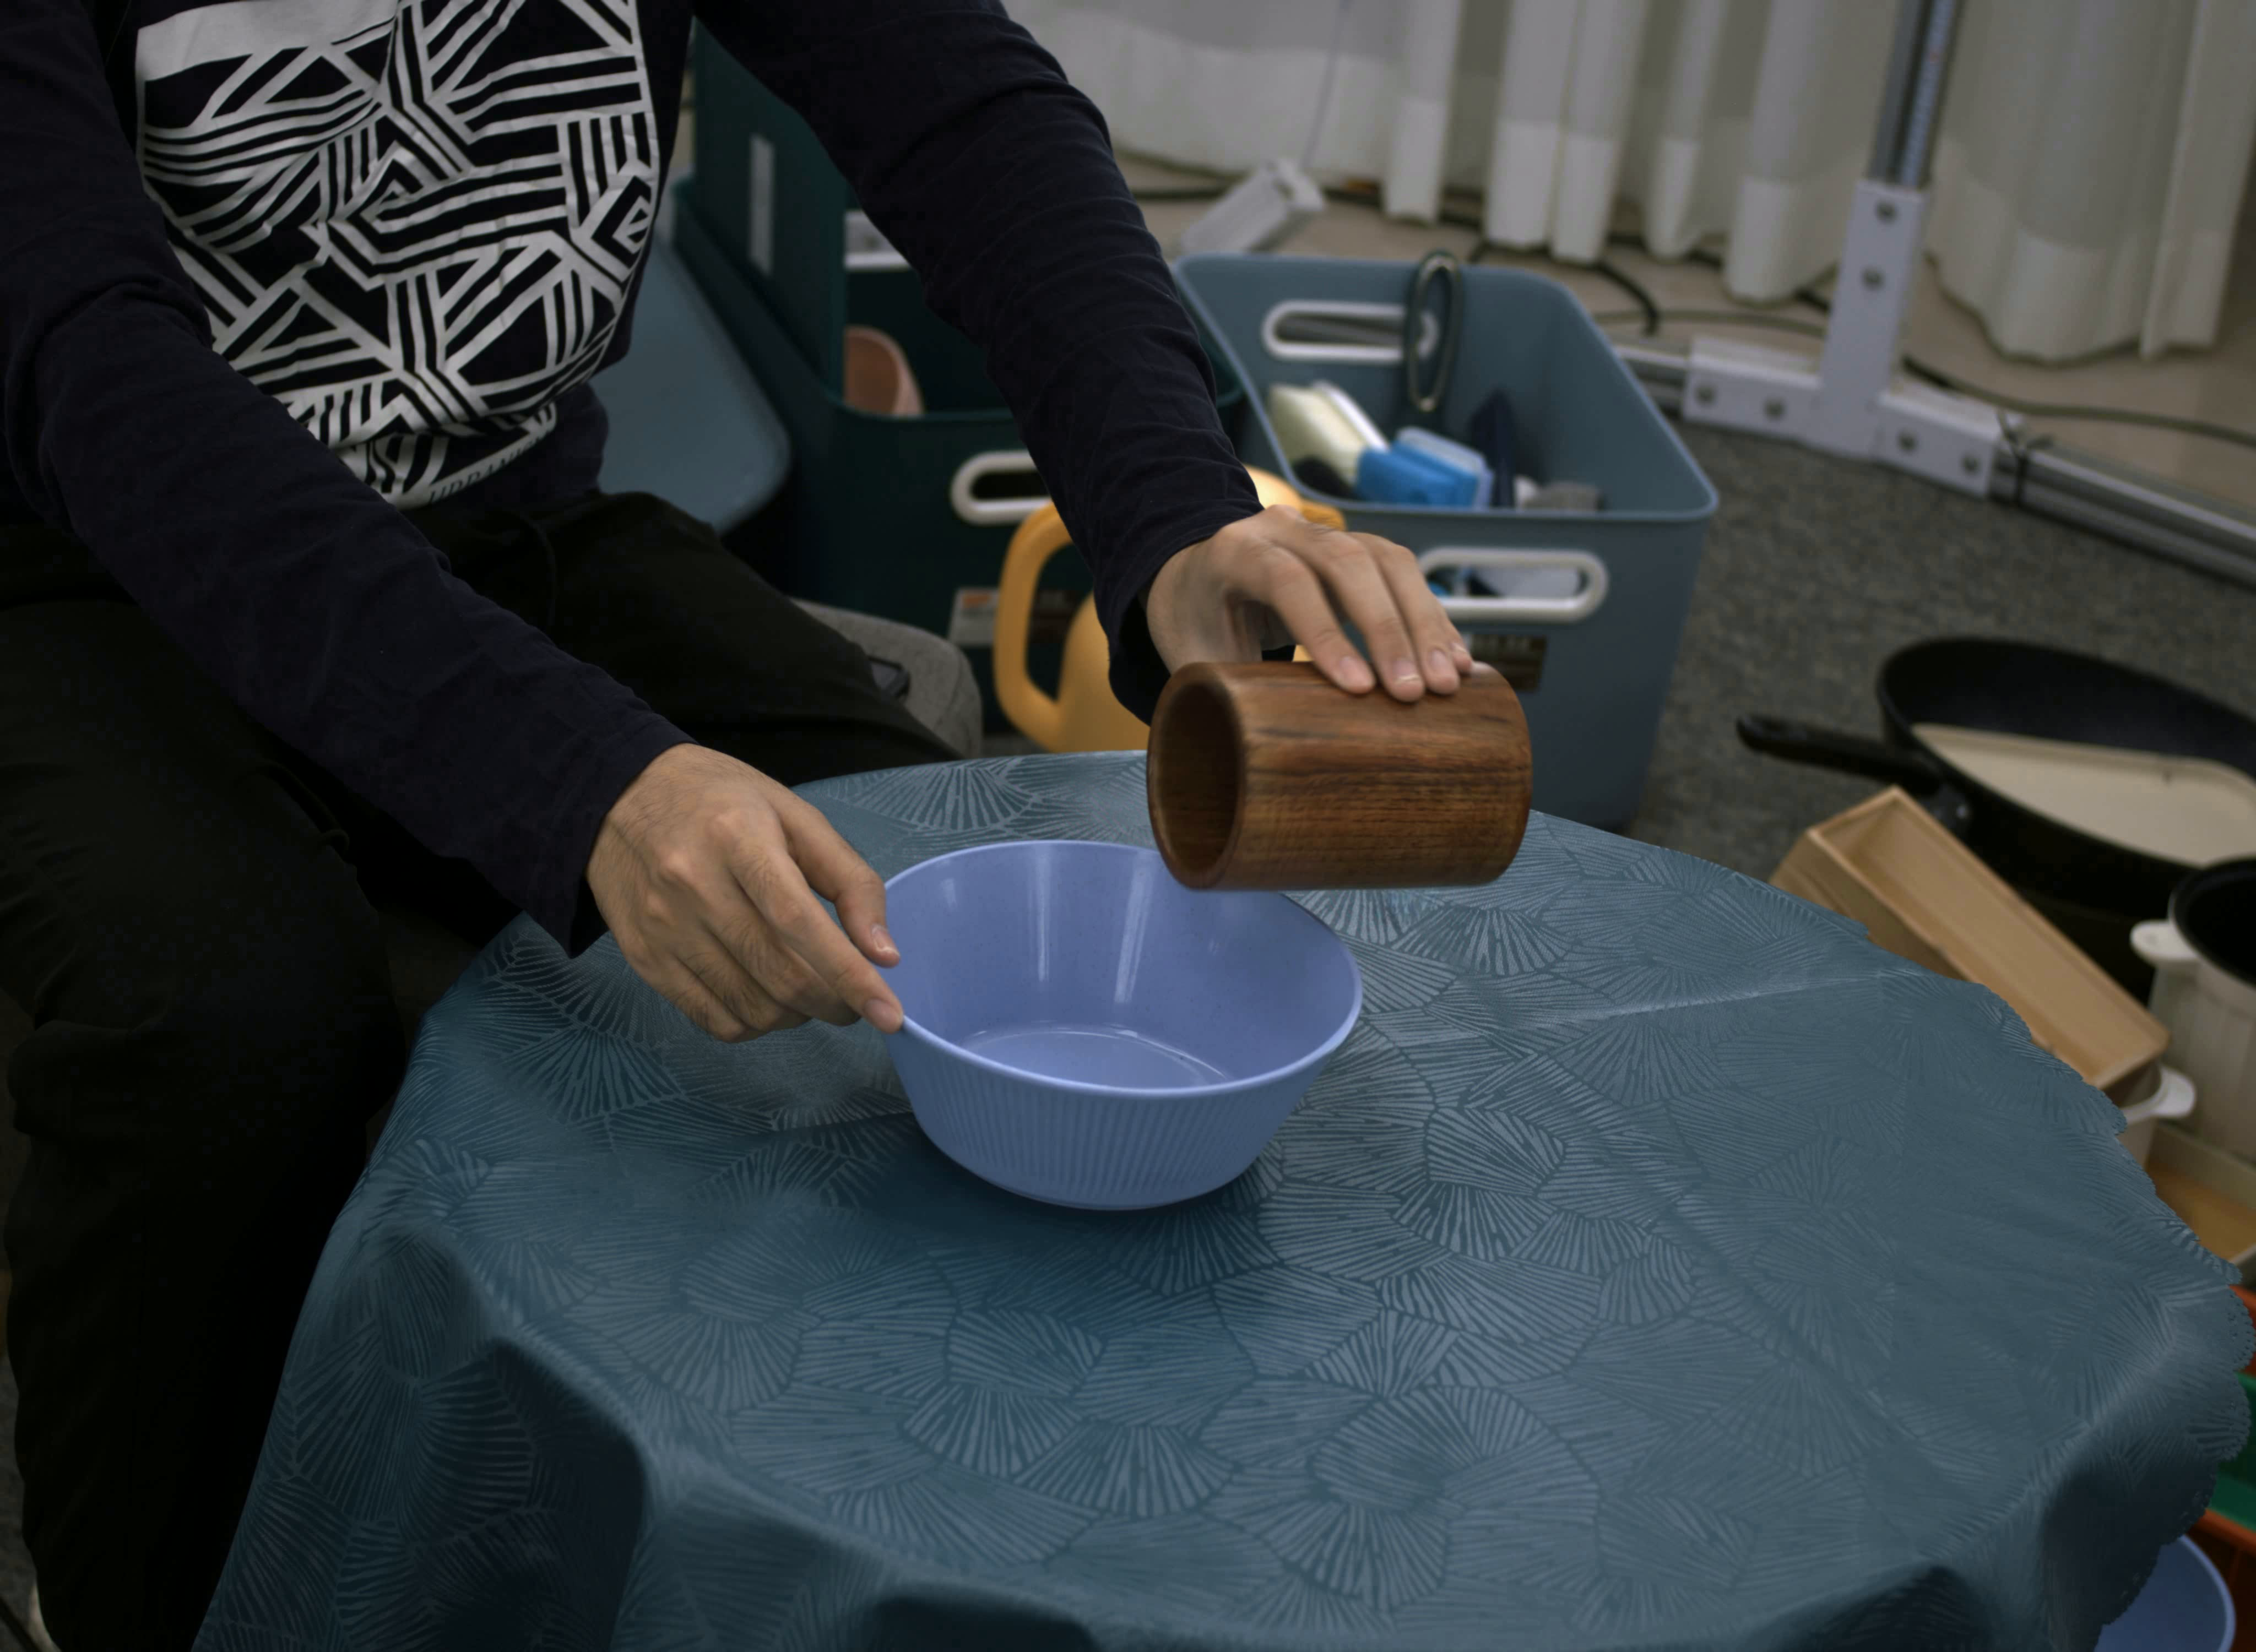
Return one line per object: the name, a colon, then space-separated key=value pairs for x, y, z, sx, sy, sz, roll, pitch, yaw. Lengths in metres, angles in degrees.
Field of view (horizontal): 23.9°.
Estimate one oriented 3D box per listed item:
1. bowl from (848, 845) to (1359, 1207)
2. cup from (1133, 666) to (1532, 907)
bowl: x=-0.011 y=0.074 z=1.824 sx=0.175 sy=0.070 sz=0.177 roll=5 pitch=26 yaw=-3
cup: x=0.070 y=-0.014 z=1.841 sx=0.117 sy=0.087 sz=0.088 roll=-1 pitch=28 yaw=-21
